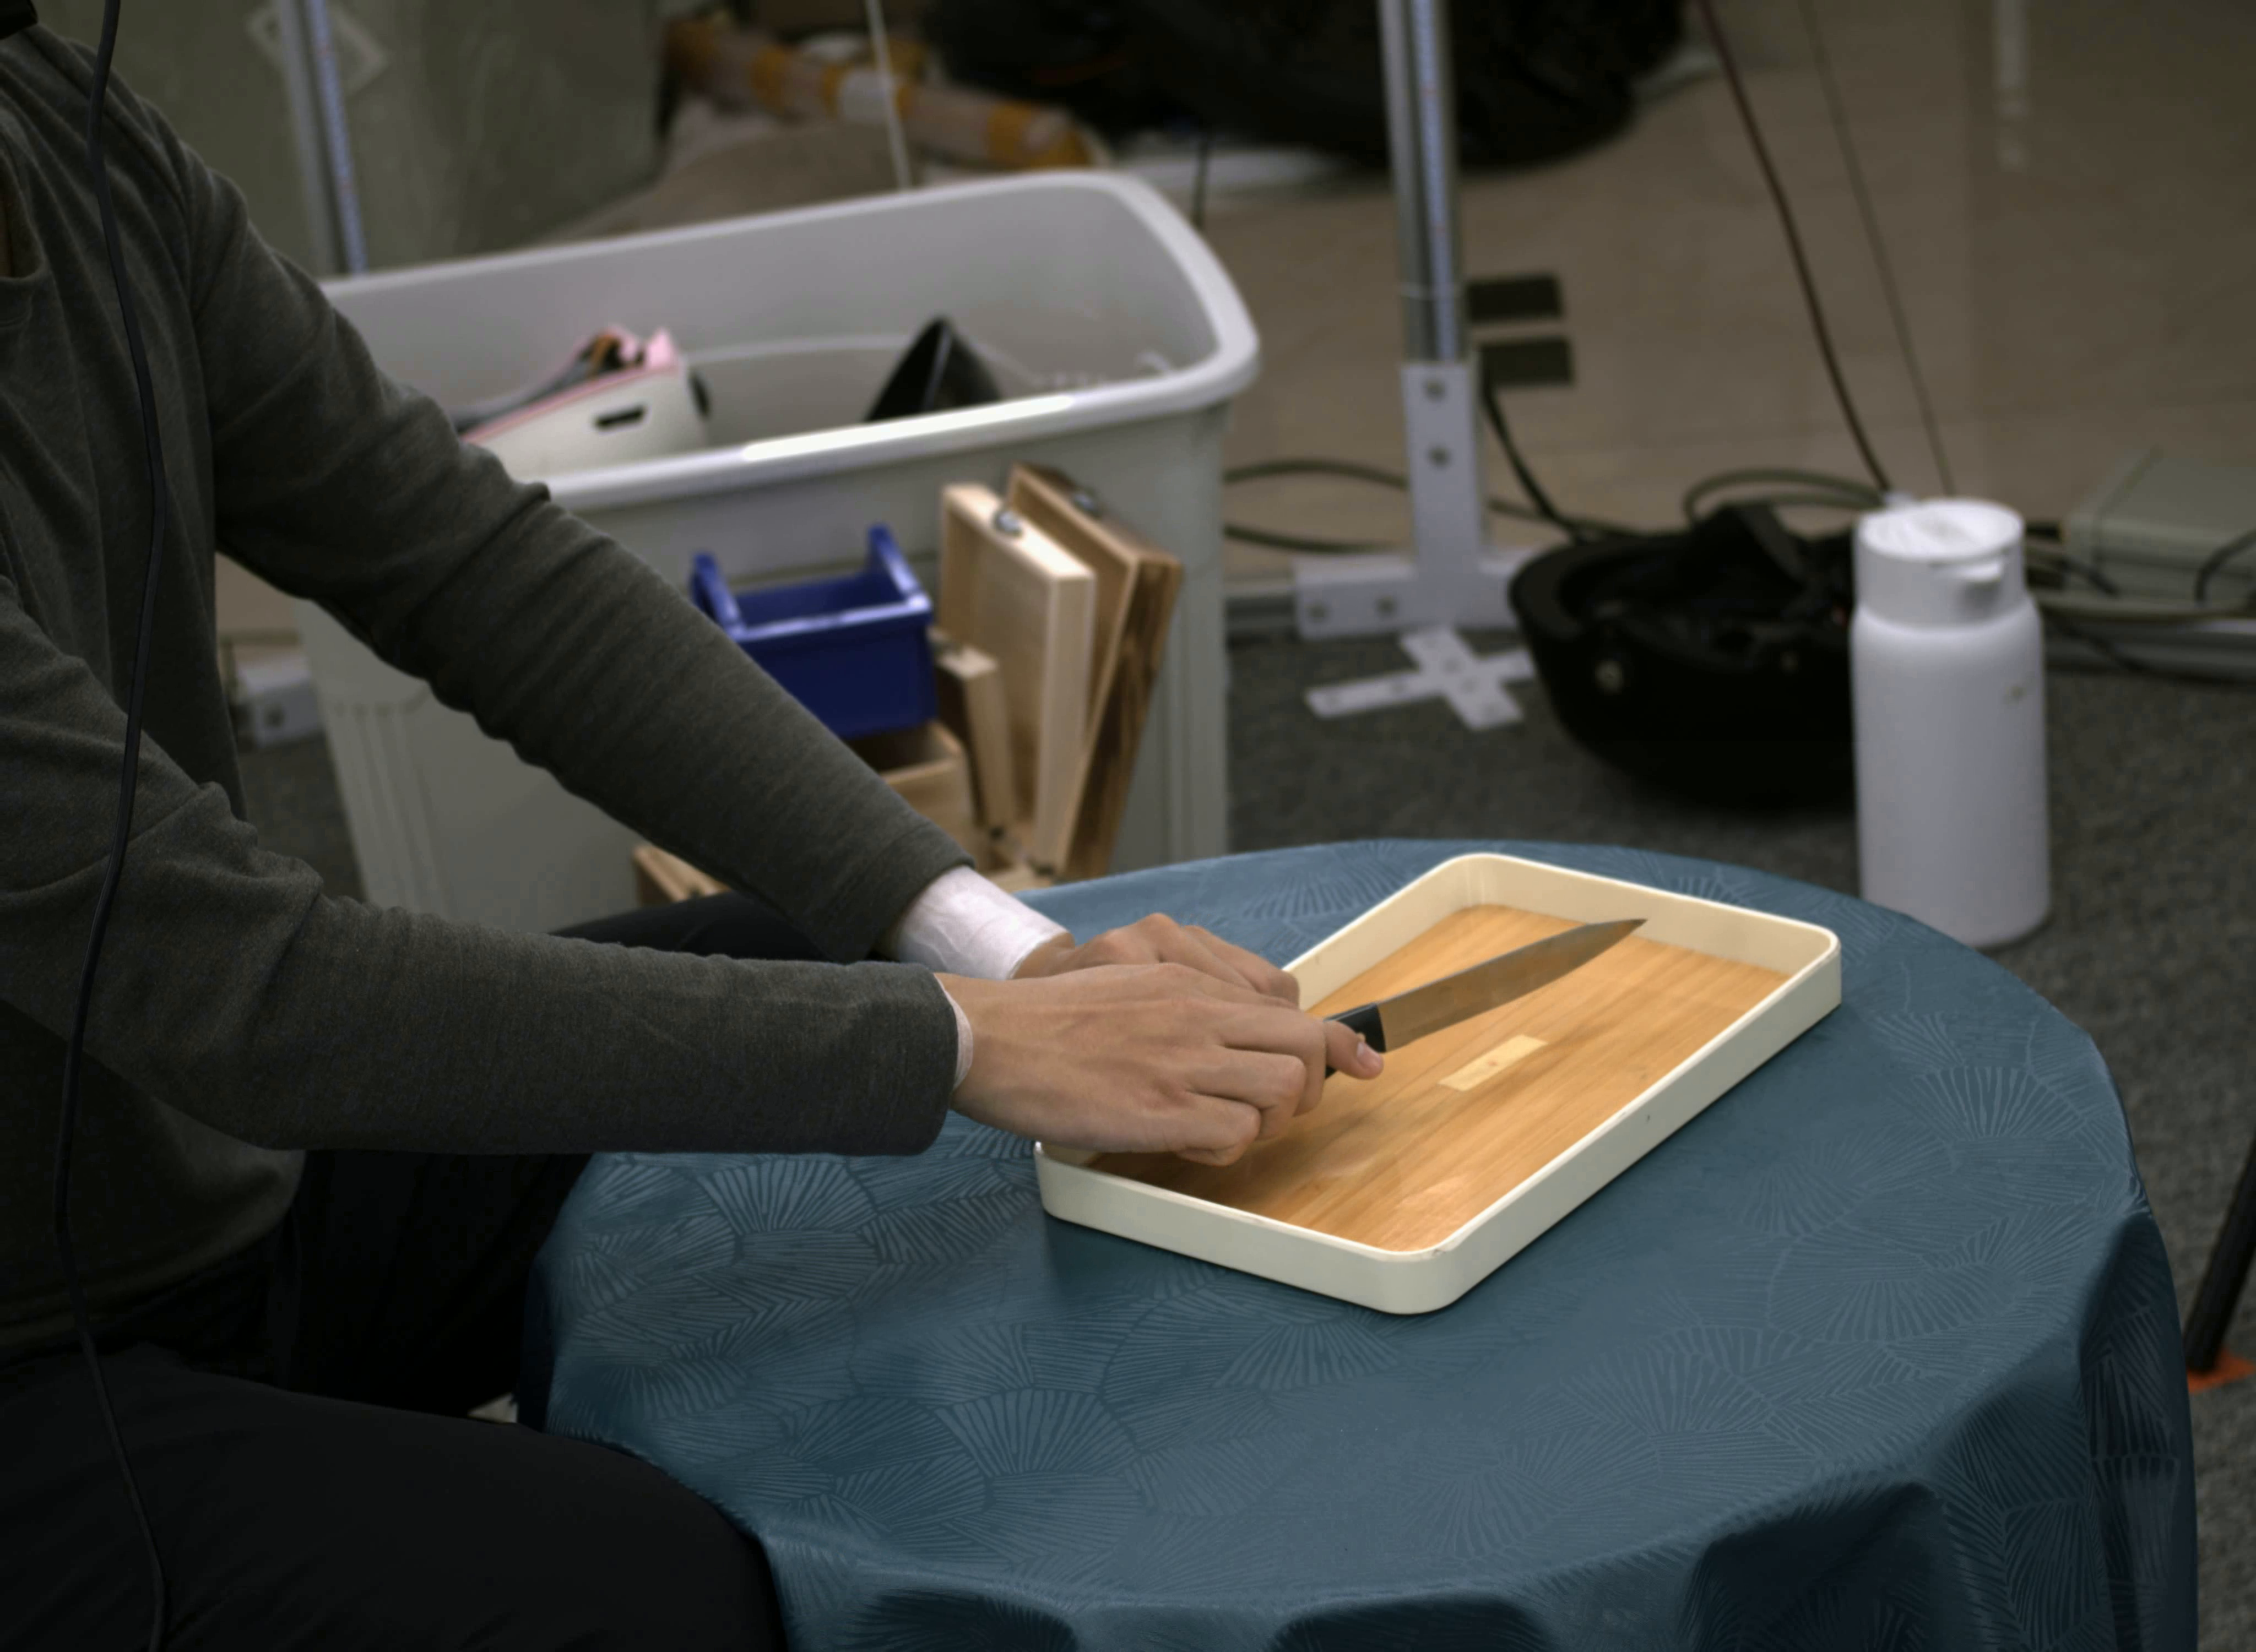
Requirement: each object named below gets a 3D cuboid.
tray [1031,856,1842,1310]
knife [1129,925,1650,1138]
[{"bbox_3d":[0.122,0.094,2.187,0.190,0.028,0.297,13,31,38],"label":"tray"},{"bbox_3d":[0.102,0.073,2.167,0.237,0.025,0.016,-19,26,-25],"label":"knife"}]
